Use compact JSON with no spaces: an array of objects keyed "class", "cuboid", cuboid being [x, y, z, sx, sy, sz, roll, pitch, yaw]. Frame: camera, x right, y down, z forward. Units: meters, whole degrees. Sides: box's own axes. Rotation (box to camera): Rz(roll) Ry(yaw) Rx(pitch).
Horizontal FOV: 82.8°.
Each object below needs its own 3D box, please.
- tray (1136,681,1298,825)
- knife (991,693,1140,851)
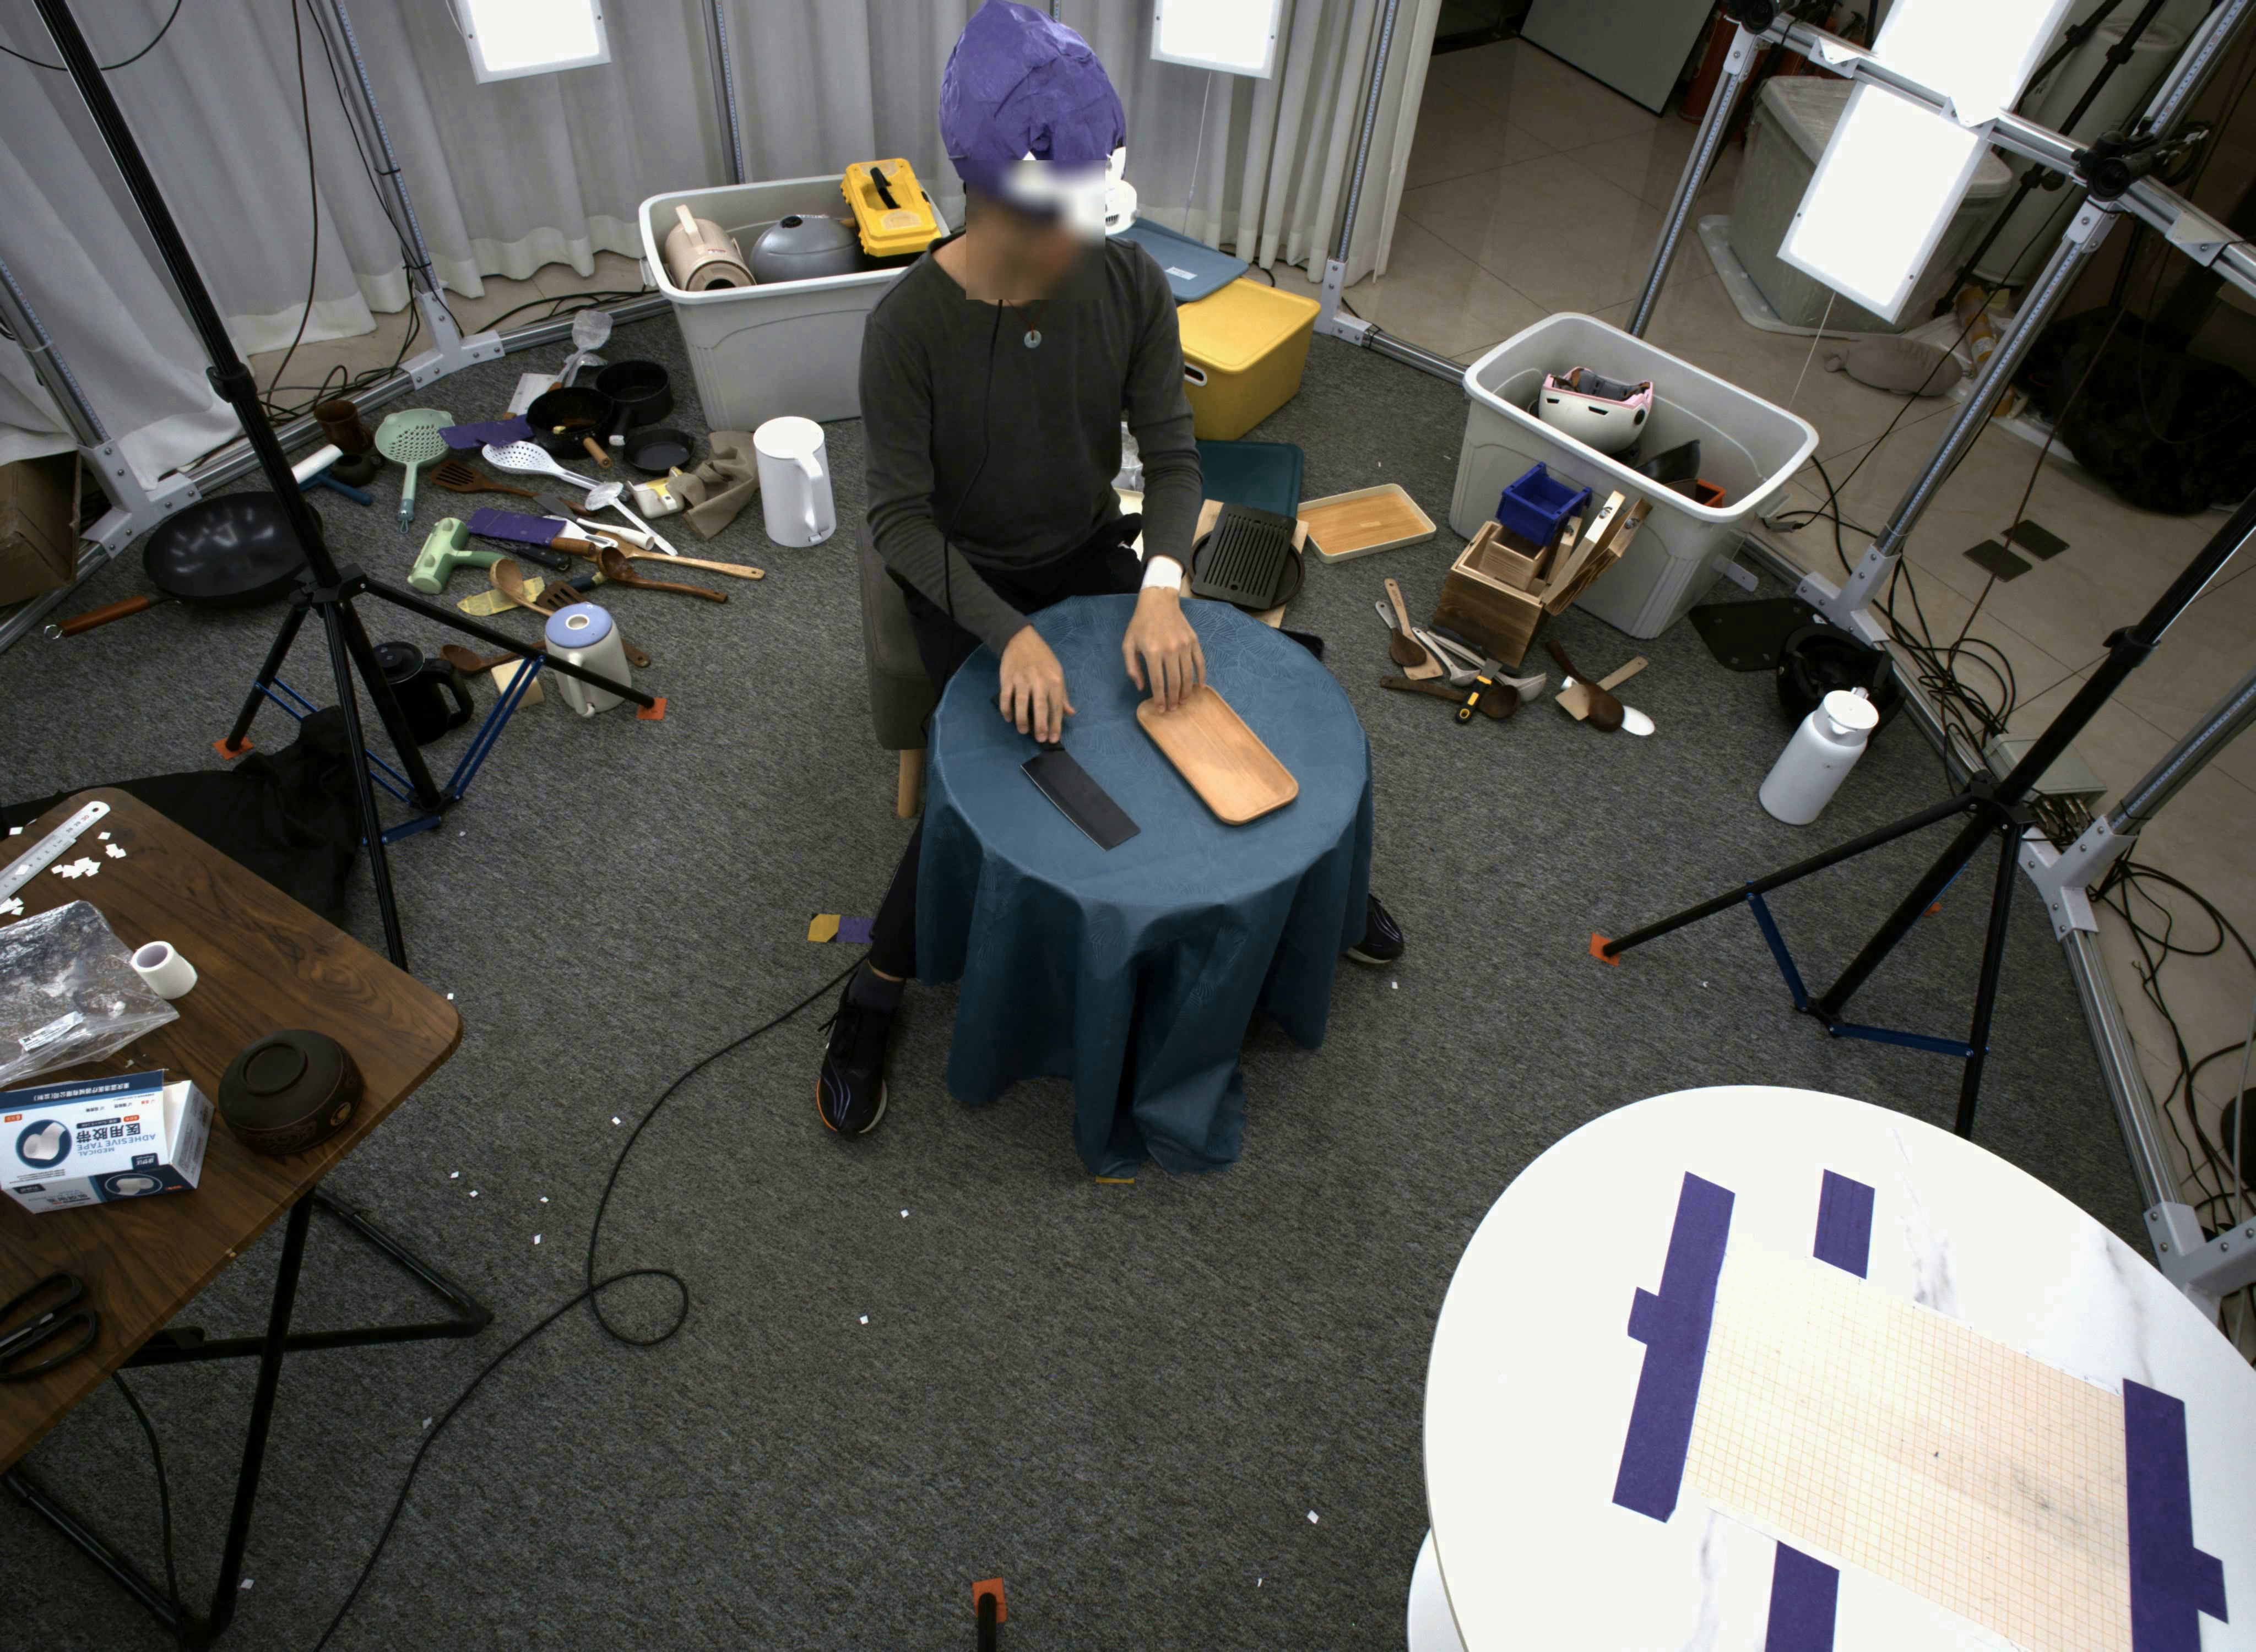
[{"class":"tray","cuboid":[0.119,-0.103,1.754,0.131,0.022,0.256,-20,52,-23]},{"class":"knife","cuboid":[-0.096,-0.078,1.720,0.081,0.020,0.308,-25,57,-23]}]
